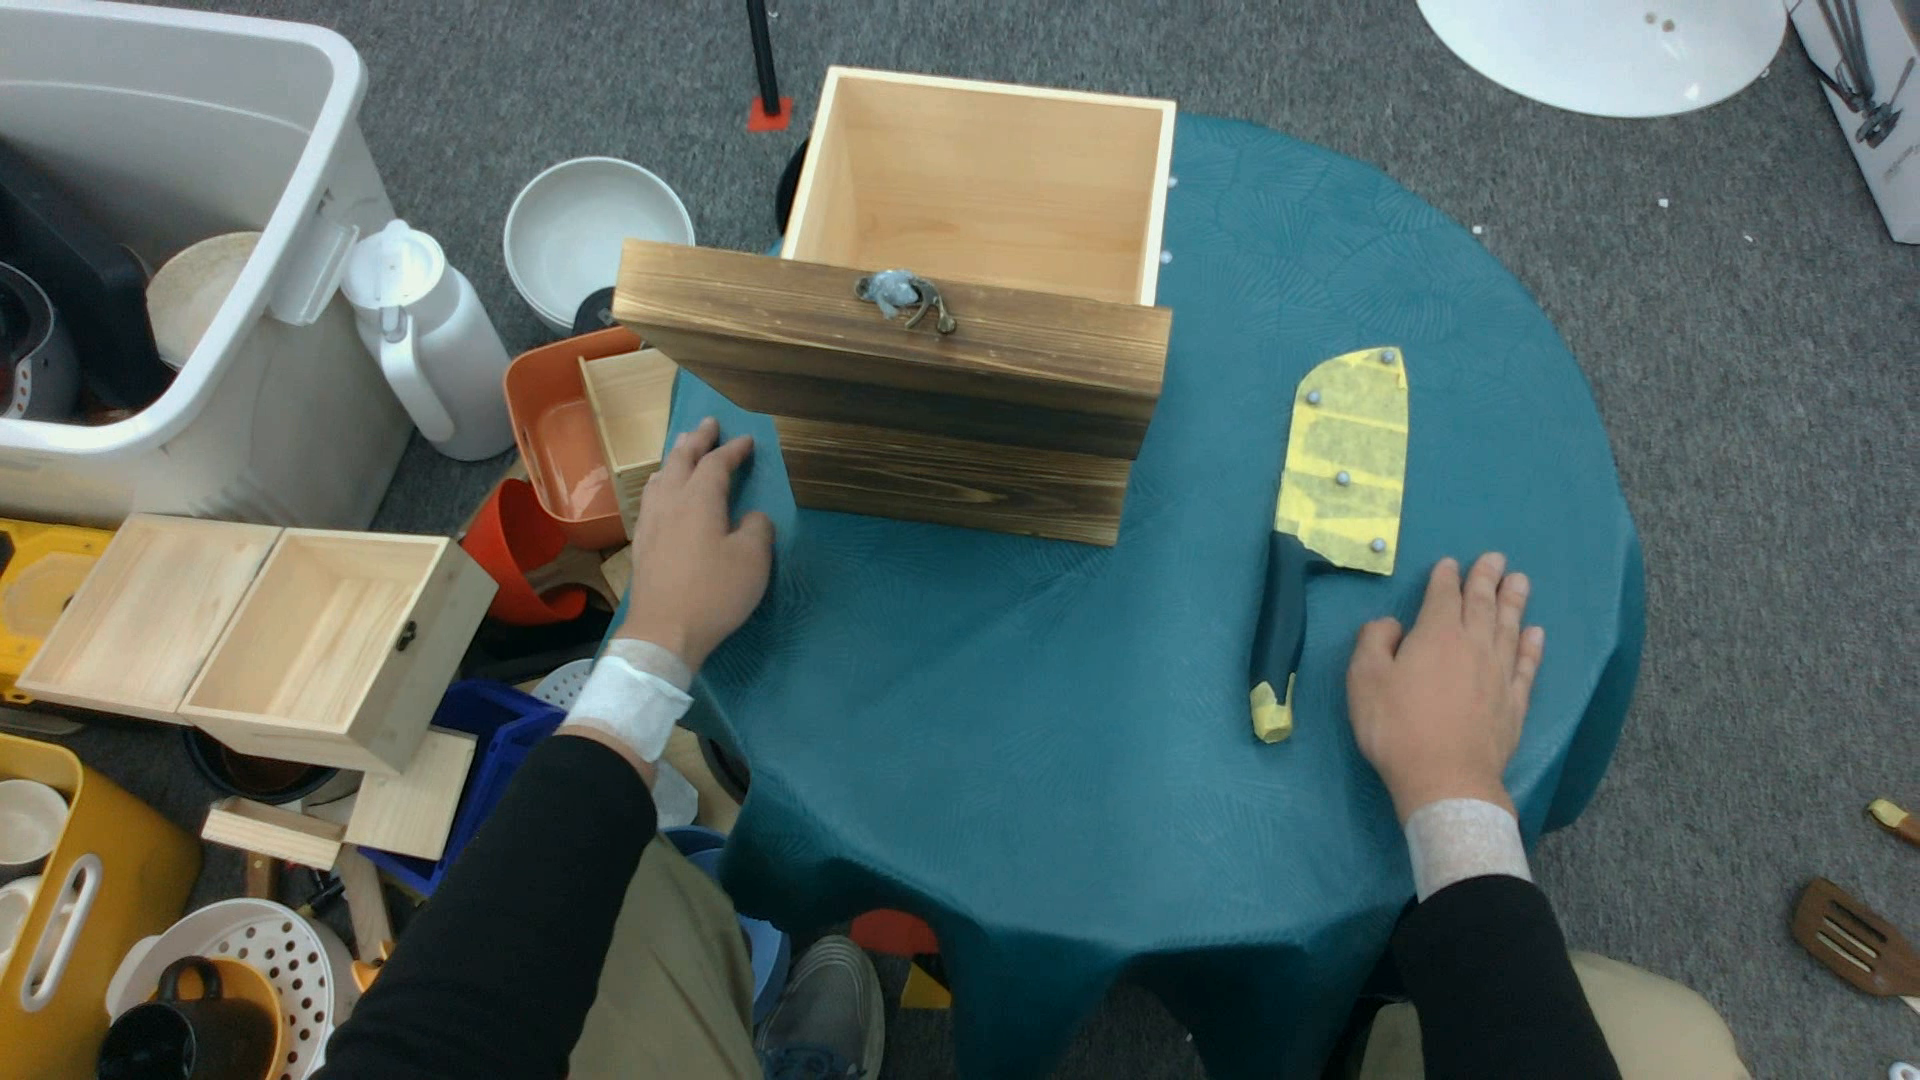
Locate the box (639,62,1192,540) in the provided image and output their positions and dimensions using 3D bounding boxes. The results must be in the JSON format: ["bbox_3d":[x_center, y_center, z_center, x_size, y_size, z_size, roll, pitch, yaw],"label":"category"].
[{"bbox_3d":[-0.002,-0.137,0.712,0.209,0.374,0.323,7,63,3],"label":"box"}]

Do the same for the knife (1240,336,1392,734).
[{"bbox_3d":[0.218,-0.012,0.838,0.081,0.027,0.291,14,62,10],"label":"knife"}]
